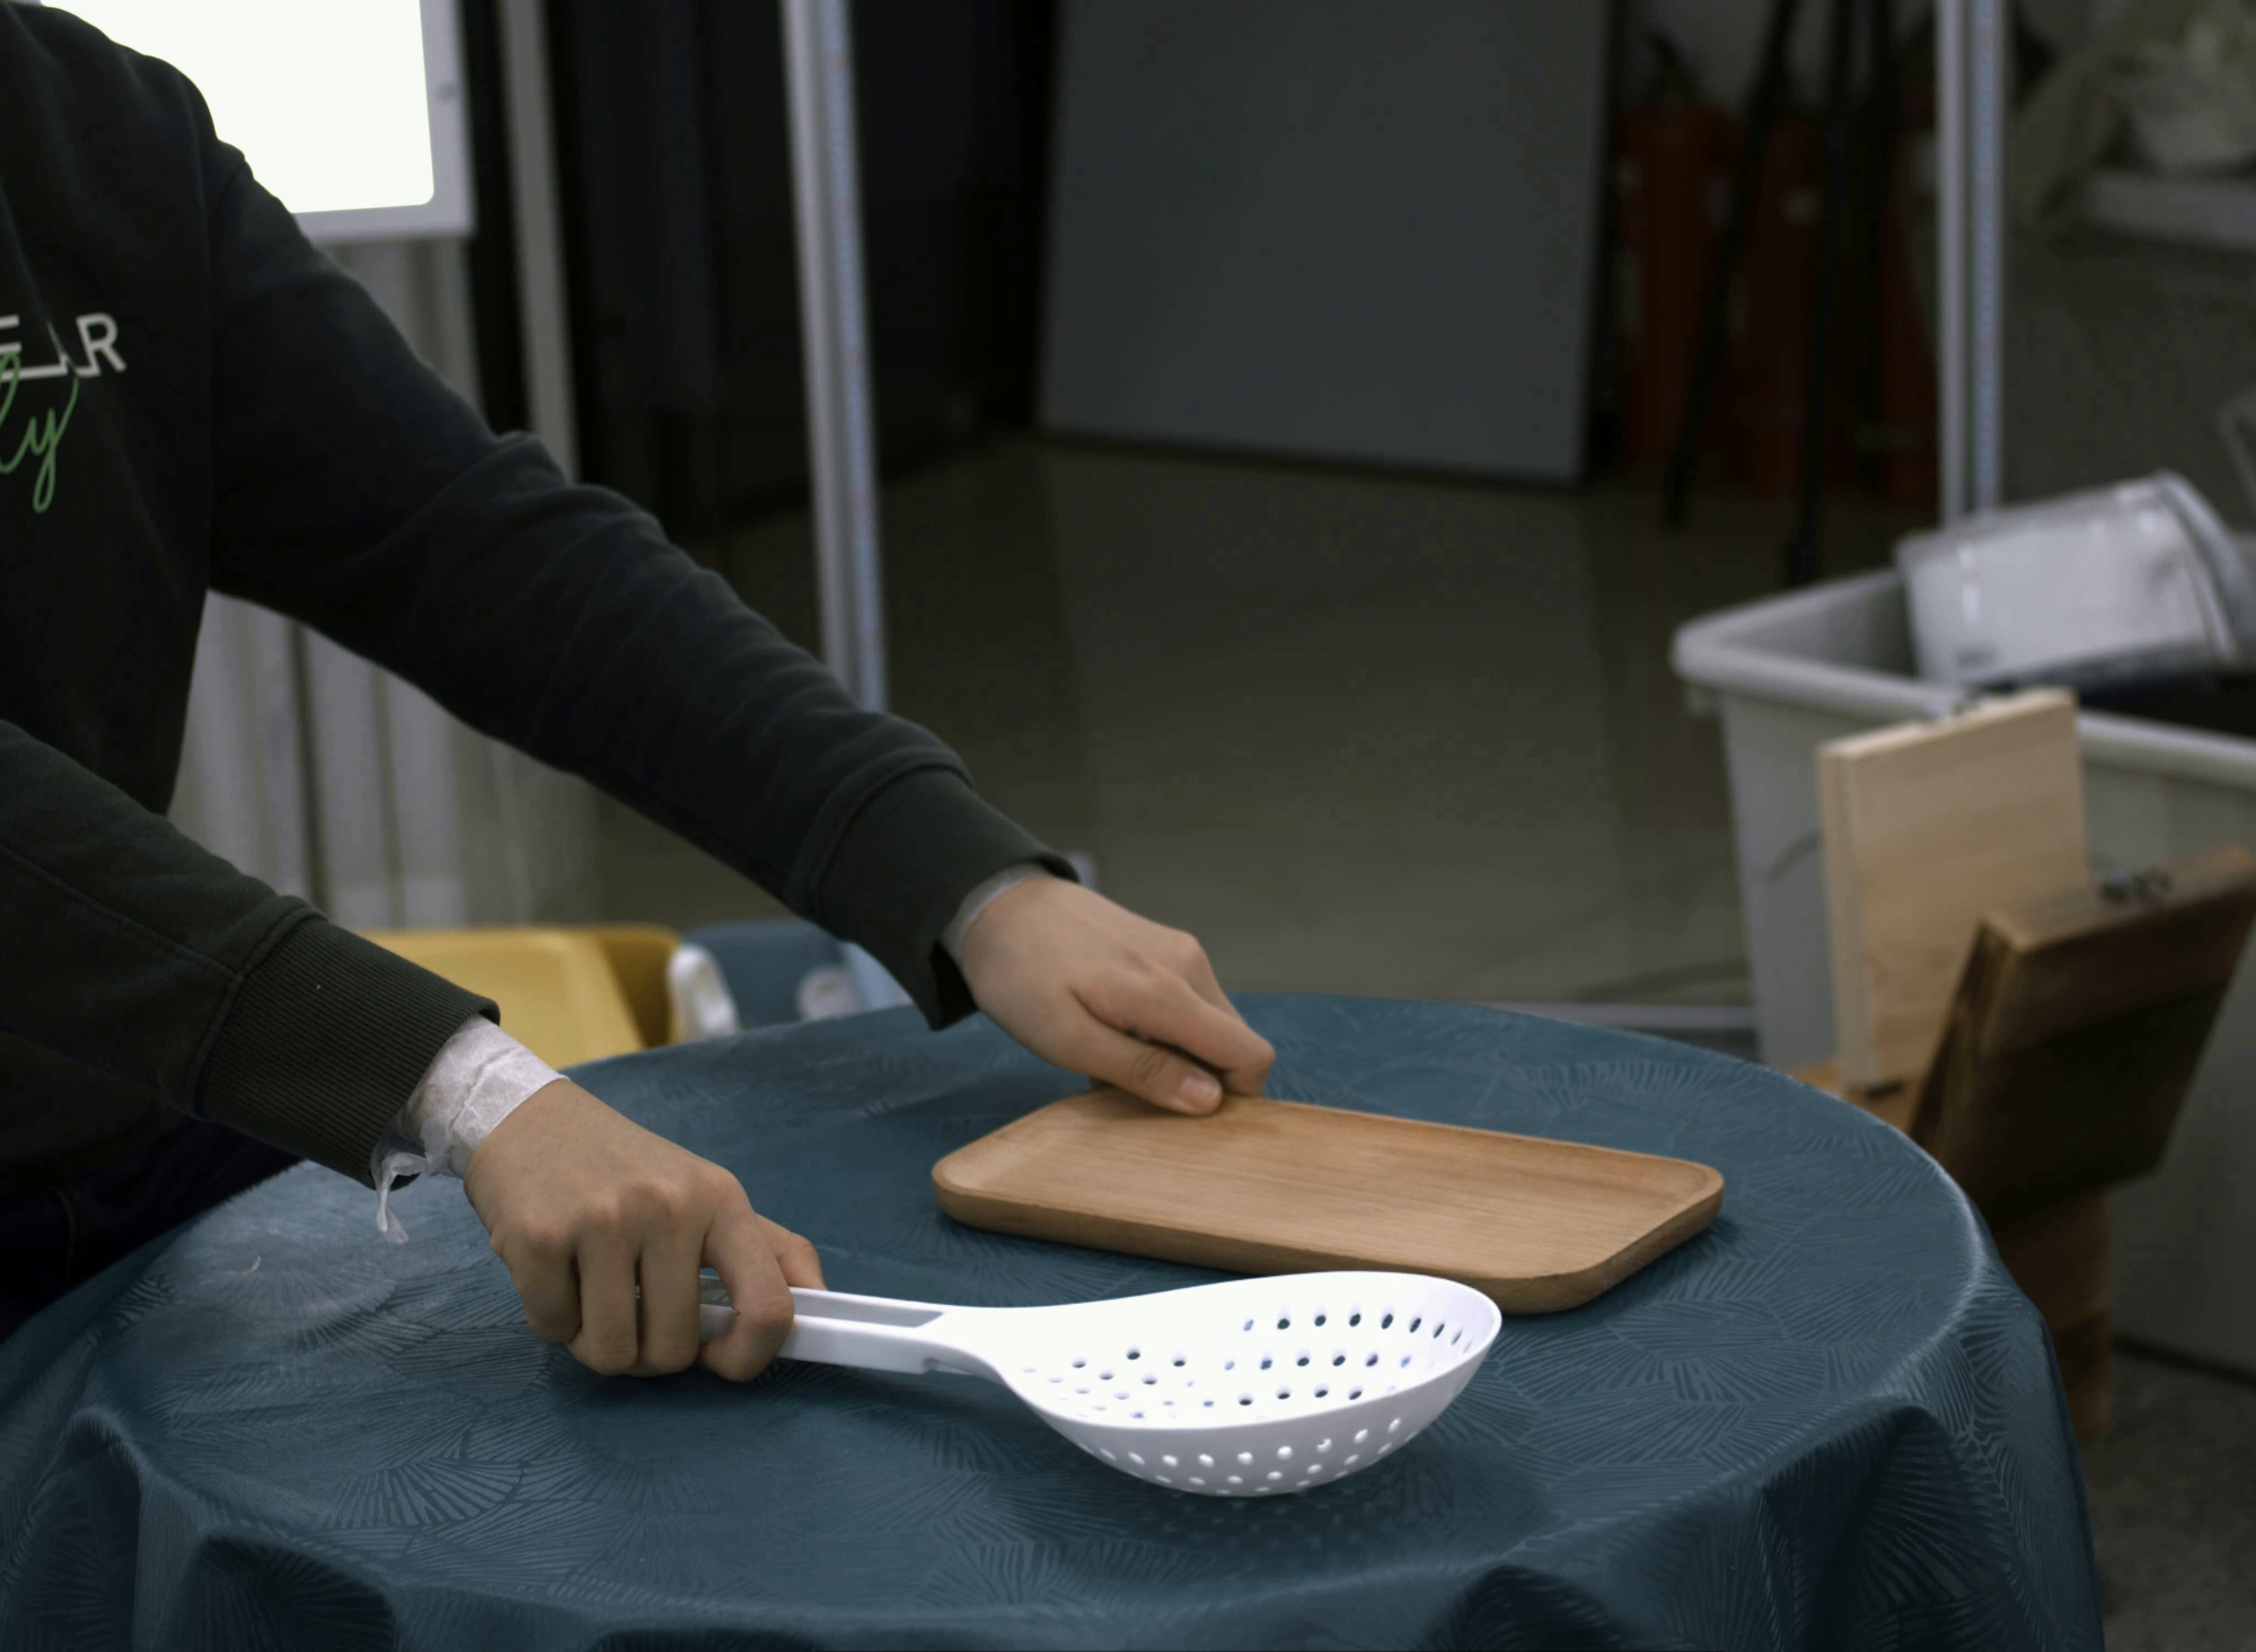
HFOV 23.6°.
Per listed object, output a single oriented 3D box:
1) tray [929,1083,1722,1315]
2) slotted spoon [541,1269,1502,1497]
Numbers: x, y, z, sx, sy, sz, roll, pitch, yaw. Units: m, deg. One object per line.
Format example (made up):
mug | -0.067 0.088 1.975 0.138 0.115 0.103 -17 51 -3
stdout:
tray | 0.062 0.118 1.729 0.252 0.023 0.128 5 15 35
slotted spoon | -0.043 0.150 1.571 0.352 0.046 0.133 7 17 40
